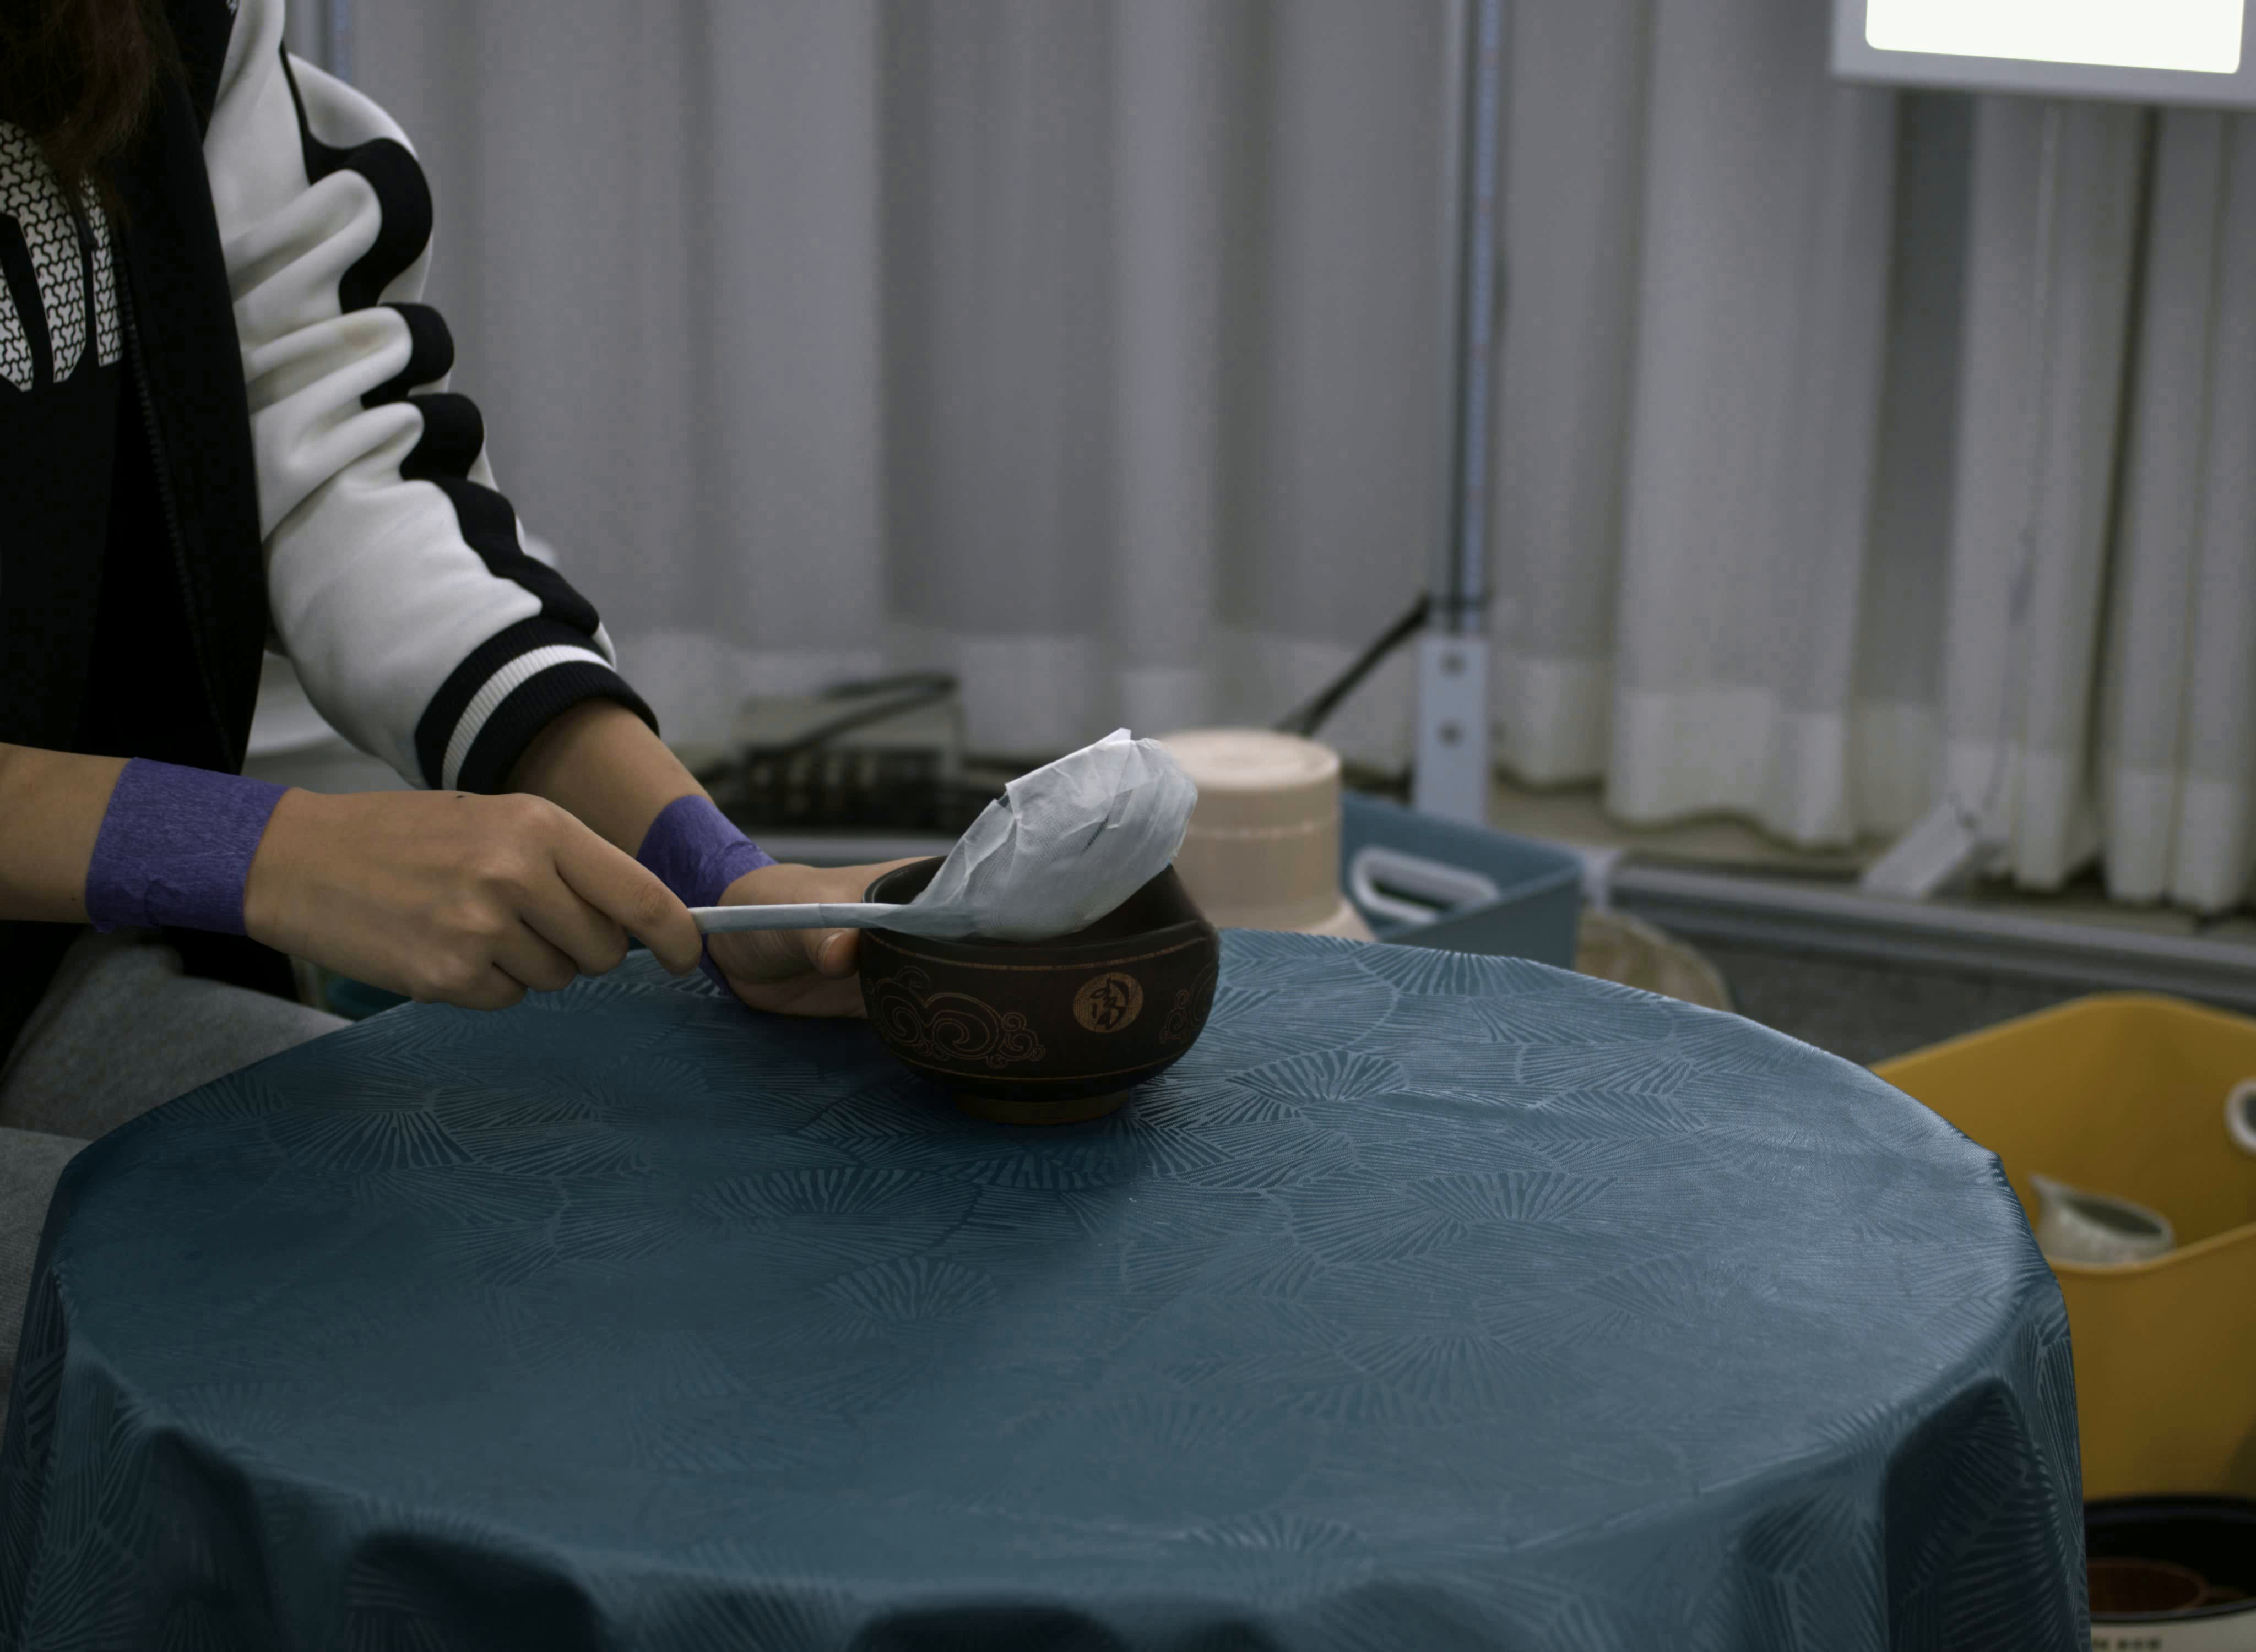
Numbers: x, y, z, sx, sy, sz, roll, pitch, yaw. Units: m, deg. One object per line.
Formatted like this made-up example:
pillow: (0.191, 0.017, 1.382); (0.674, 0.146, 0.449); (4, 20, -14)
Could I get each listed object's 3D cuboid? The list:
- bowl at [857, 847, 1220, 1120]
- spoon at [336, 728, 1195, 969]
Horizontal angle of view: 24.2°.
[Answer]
bowl: (-0.029, 0.053, 1.696); (0.117, 0.070, 0.117); (1, 16, 0)
spoon: (-0.115, 0.012, 1.667); (0.275, 0.102, 0.059); (-3, 57, 12)
